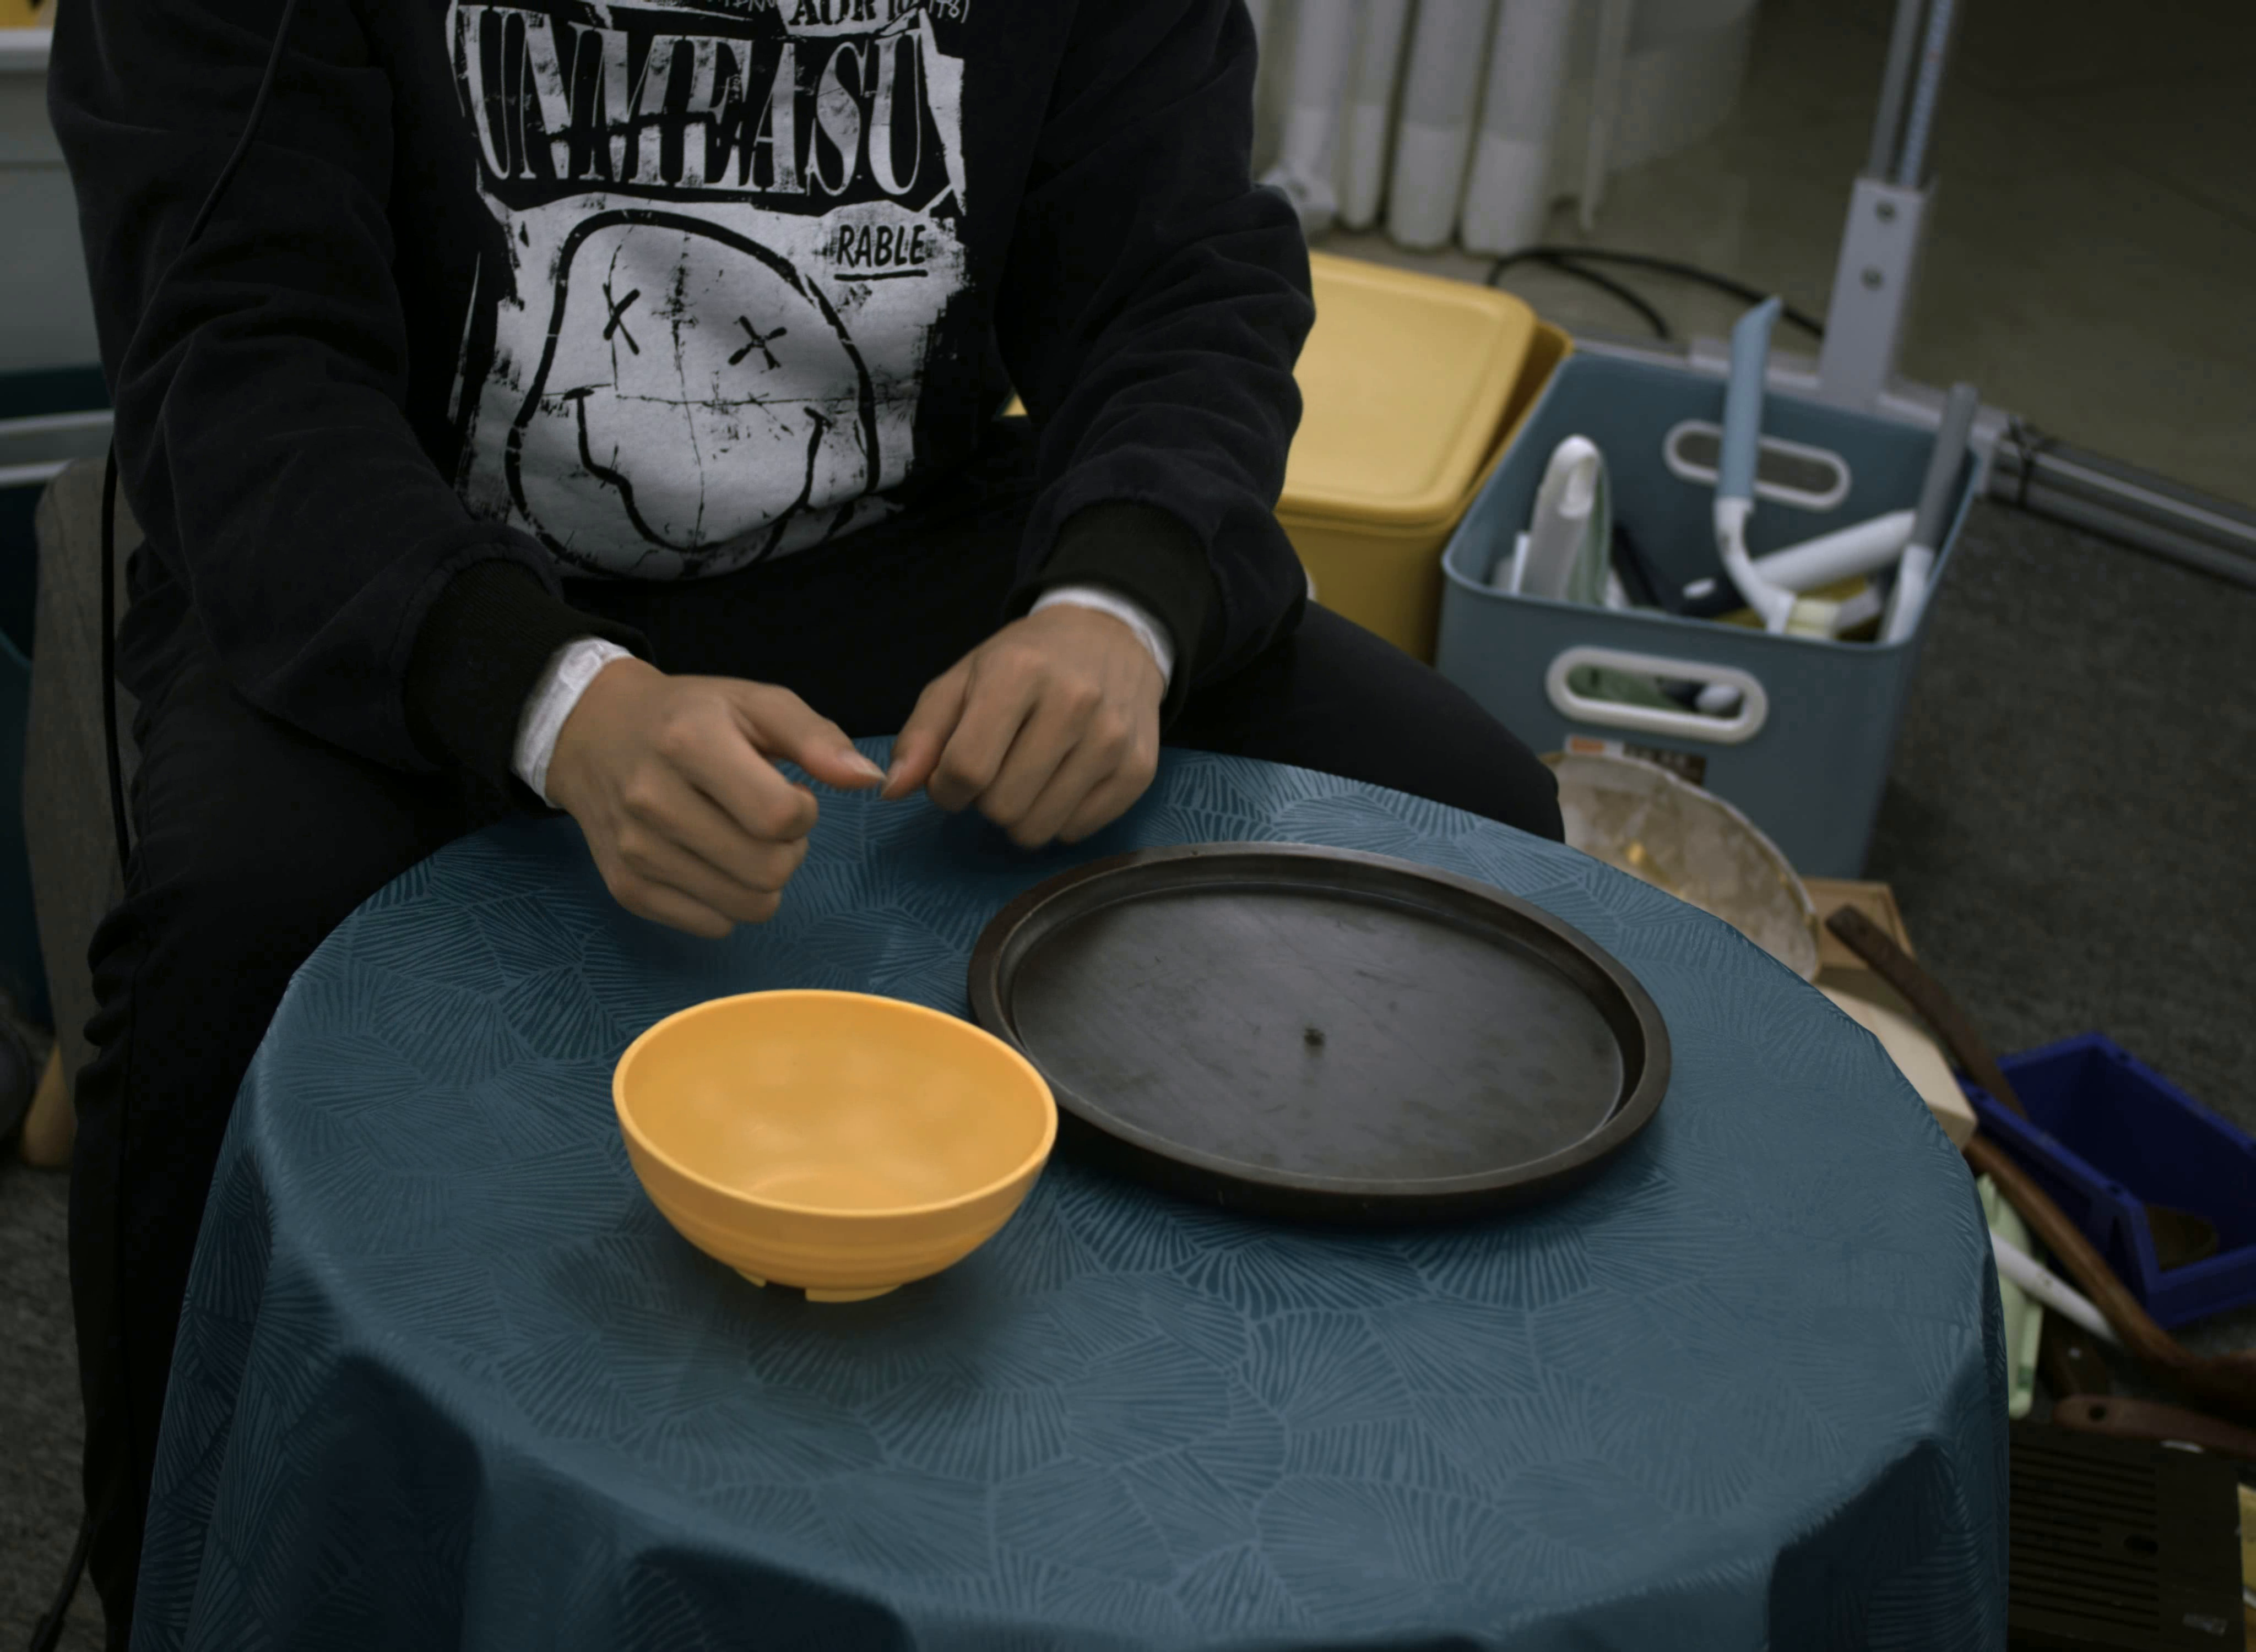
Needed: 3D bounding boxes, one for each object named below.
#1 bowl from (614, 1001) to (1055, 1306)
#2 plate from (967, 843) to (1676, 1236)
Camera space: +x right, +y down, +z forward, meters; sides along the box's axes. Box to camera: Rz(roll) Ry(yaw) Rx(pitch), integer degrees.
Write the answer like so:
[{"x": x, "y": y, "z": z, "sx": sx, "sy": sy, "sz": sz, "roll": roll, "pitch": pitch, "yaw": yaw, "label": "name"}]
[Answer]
[{"x": -0.098, "y": 0.115, "z": 1.733, "sx": 0.145, "sy": 0.060, "sz": 0.146, "roll": 5, "pitch": 24, "yaw": -3, "label": "bowl"}, {"x": 0.068, "y": 0.074, "z": 1.889, "sx": 0.254, "sy": 0.029, "sz": 0.256, "roll": 4, "pitch": 27, "yaw": -2, "label": "plate"}]
